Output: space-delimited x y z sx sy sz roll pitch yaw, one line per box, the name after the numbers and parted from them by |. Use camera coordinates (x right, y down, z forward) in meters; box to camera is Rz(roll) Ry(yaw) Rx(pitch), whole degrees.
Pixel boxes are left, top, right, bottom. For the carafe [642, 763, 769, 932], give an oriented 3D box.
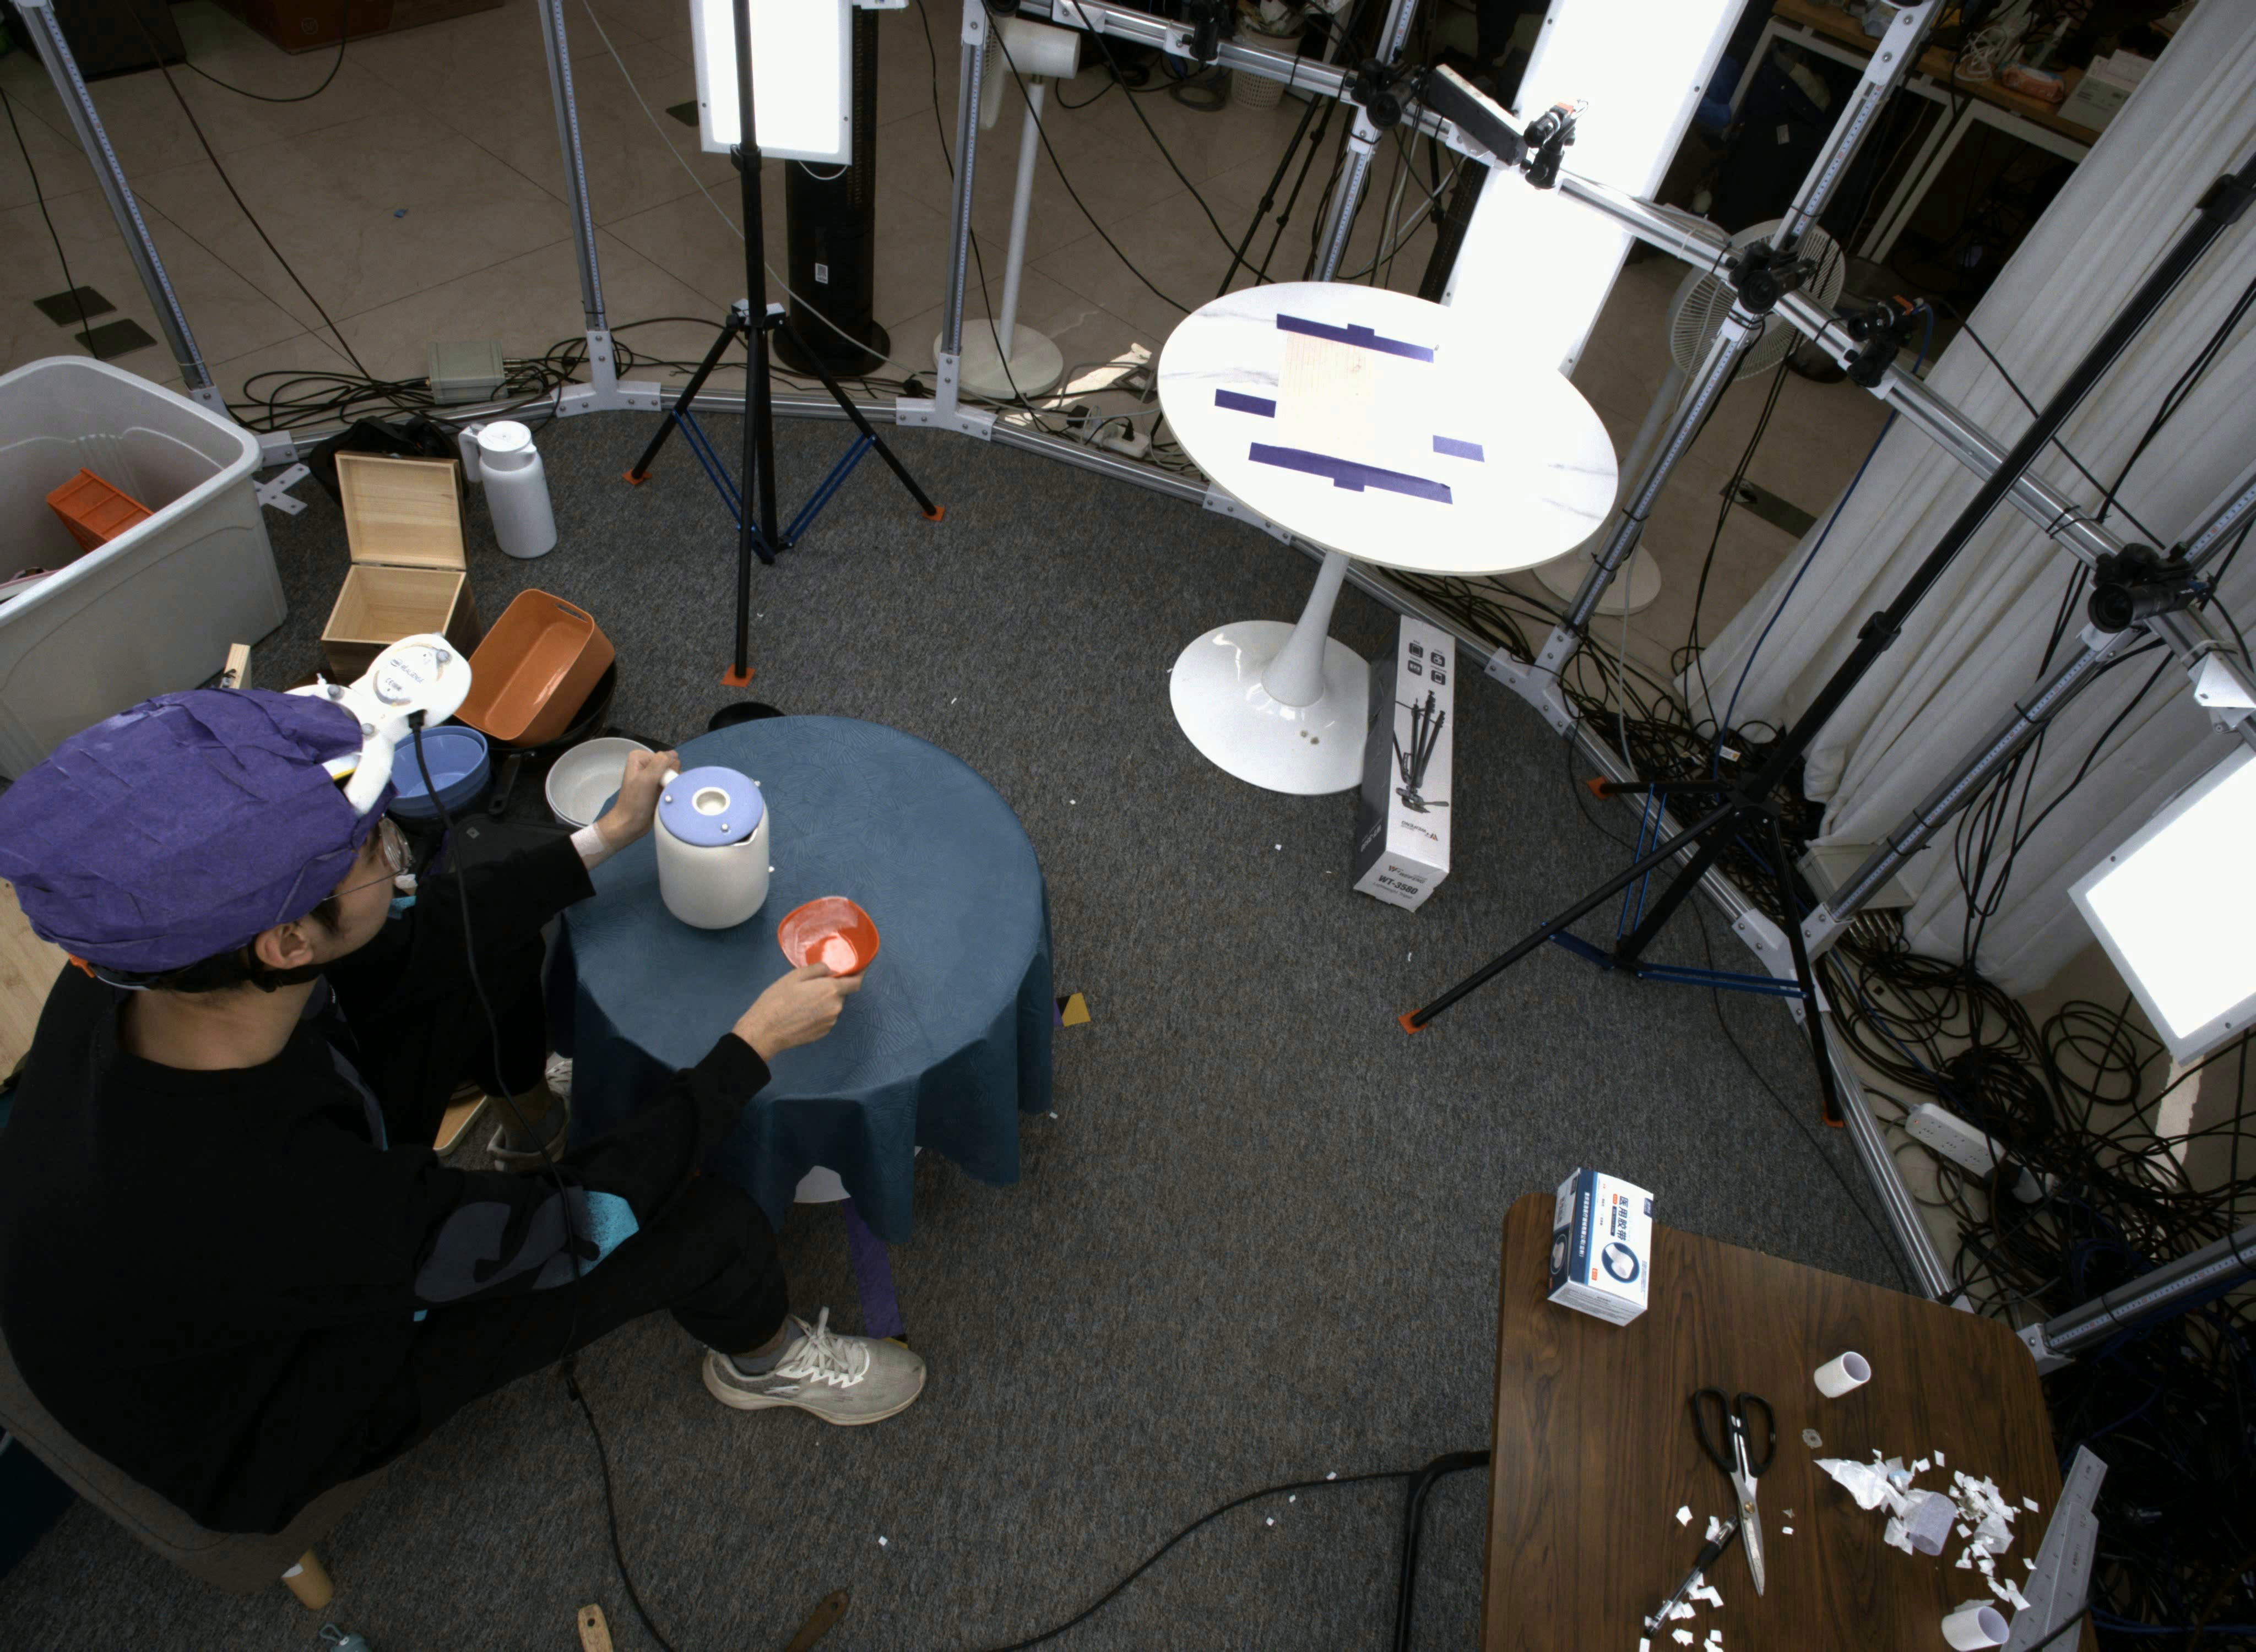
-0.519 0.011 1.554 0.187 0.186 0.132 35 50 16 | carafe

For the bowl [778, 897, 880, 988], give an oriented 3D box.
-0.353 0.144 1.533 0.119 0.052 0.116 10 49 -10 | bowl
